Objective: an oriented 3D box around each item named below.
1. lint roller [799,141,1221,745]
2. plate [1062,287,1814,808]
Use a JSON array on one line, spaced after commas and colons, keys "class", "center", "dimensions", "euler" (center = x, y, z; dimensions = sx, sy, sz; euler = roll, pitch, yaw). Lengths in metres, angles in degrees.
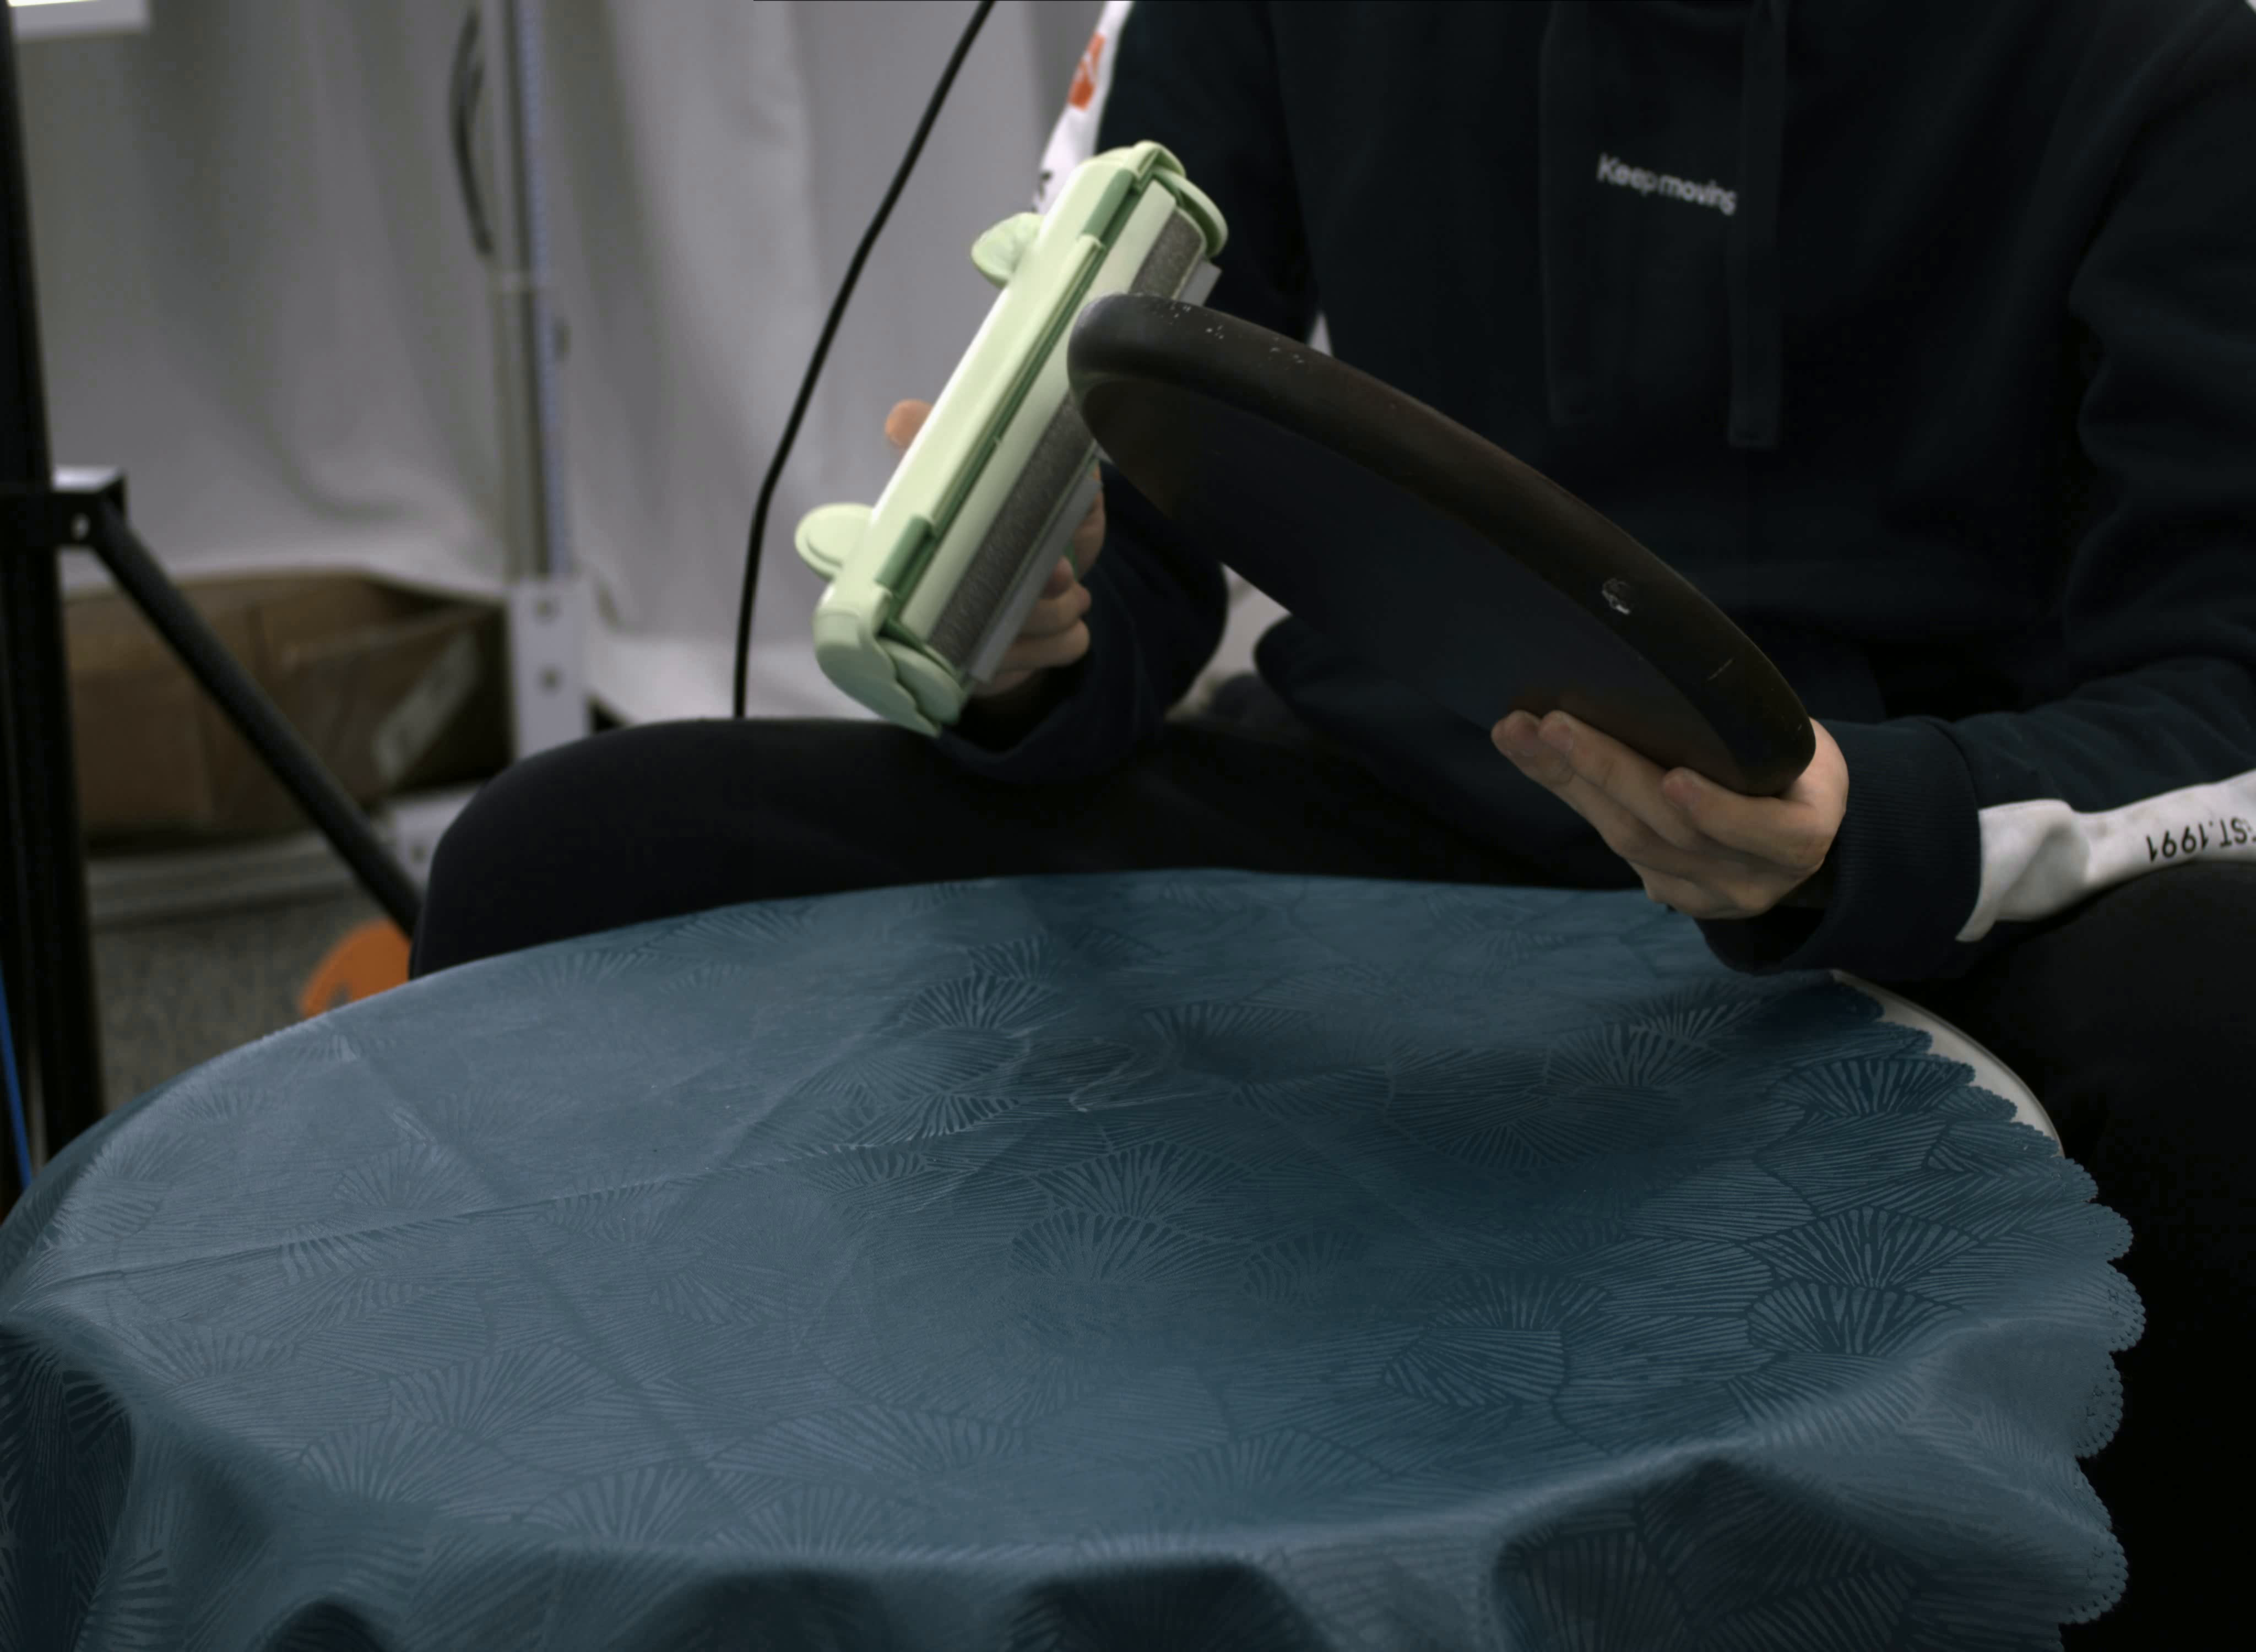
[{"class": "lint roller", "center": [-0.048, -0.108, 1.721], "dimensions": [0.082, 0.198, 0.184], "euler": [28, -20, 0]}, {"class": "plate", "center": [0.087, -0.077, 1.557], "dimensions": [0.255, 0.029, 0.254], "euler": [31, -9, 3]}]
